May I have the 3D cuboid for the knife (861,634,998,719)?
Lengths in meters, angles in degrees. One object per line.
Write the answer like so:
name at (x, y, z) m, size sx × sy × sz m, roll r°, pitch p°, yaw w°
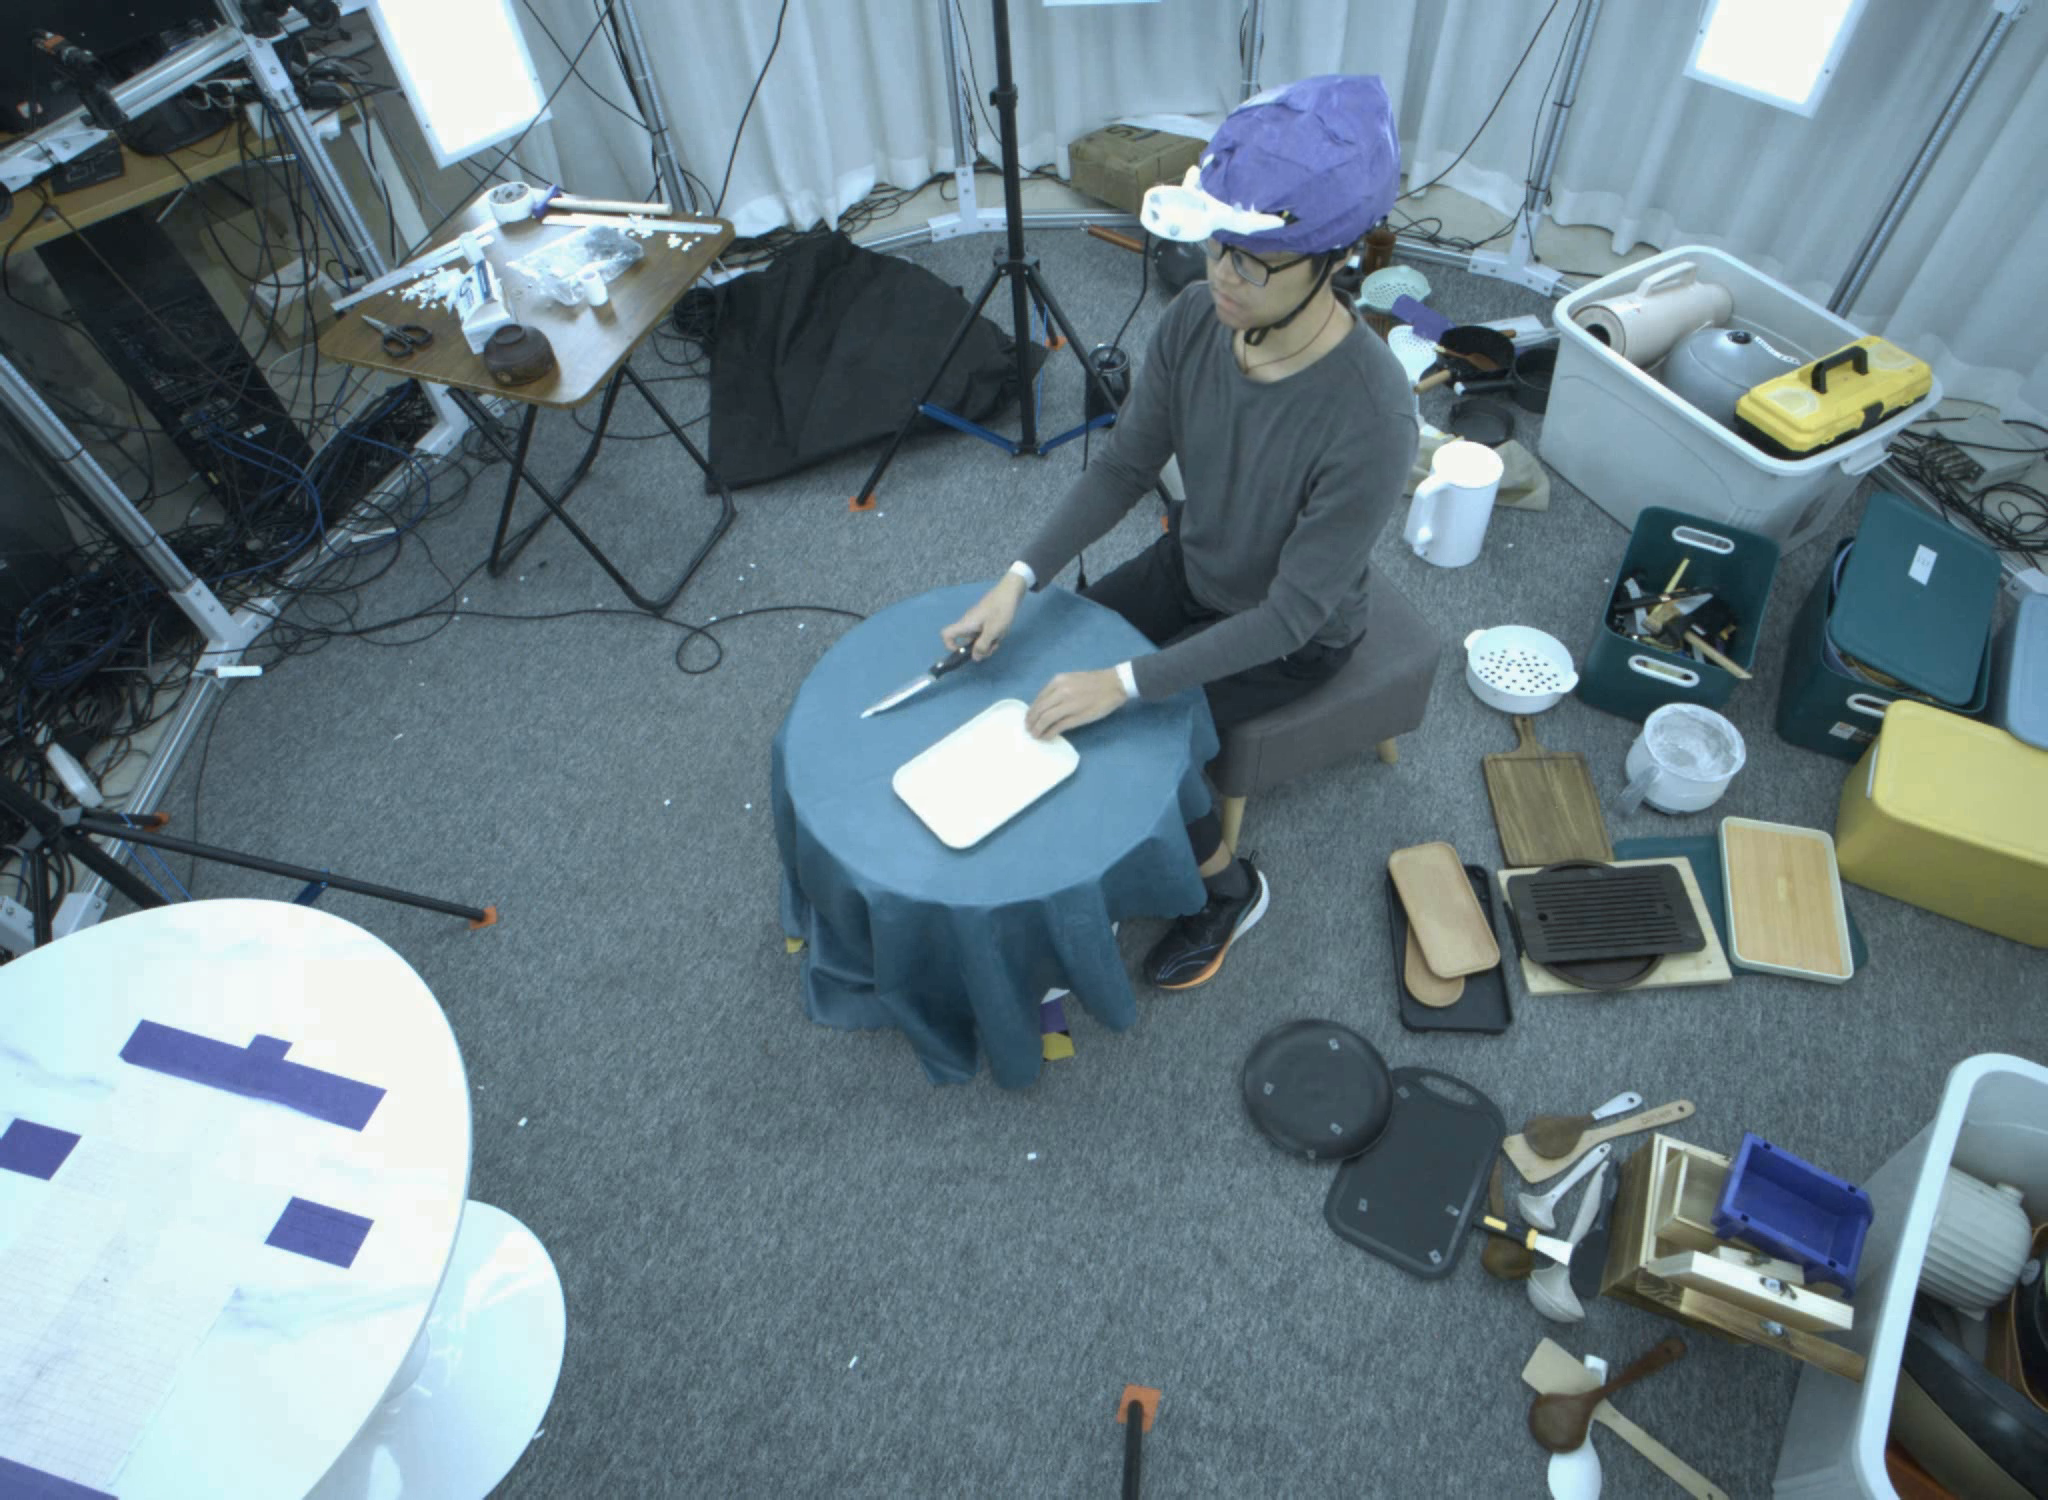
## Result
knife at (-0.145, -0.111, 1.849) m, size 0.239 × 0.016 × 0.024 m, roll -31°, pitch 56°, yaw -6°

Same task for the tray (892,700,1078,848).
tray at (-0.055, 0.033, 1.762) m, size 0.241 × 0.017 × 0.168 m, roll -34°, pitch 60°, yaw -21°
